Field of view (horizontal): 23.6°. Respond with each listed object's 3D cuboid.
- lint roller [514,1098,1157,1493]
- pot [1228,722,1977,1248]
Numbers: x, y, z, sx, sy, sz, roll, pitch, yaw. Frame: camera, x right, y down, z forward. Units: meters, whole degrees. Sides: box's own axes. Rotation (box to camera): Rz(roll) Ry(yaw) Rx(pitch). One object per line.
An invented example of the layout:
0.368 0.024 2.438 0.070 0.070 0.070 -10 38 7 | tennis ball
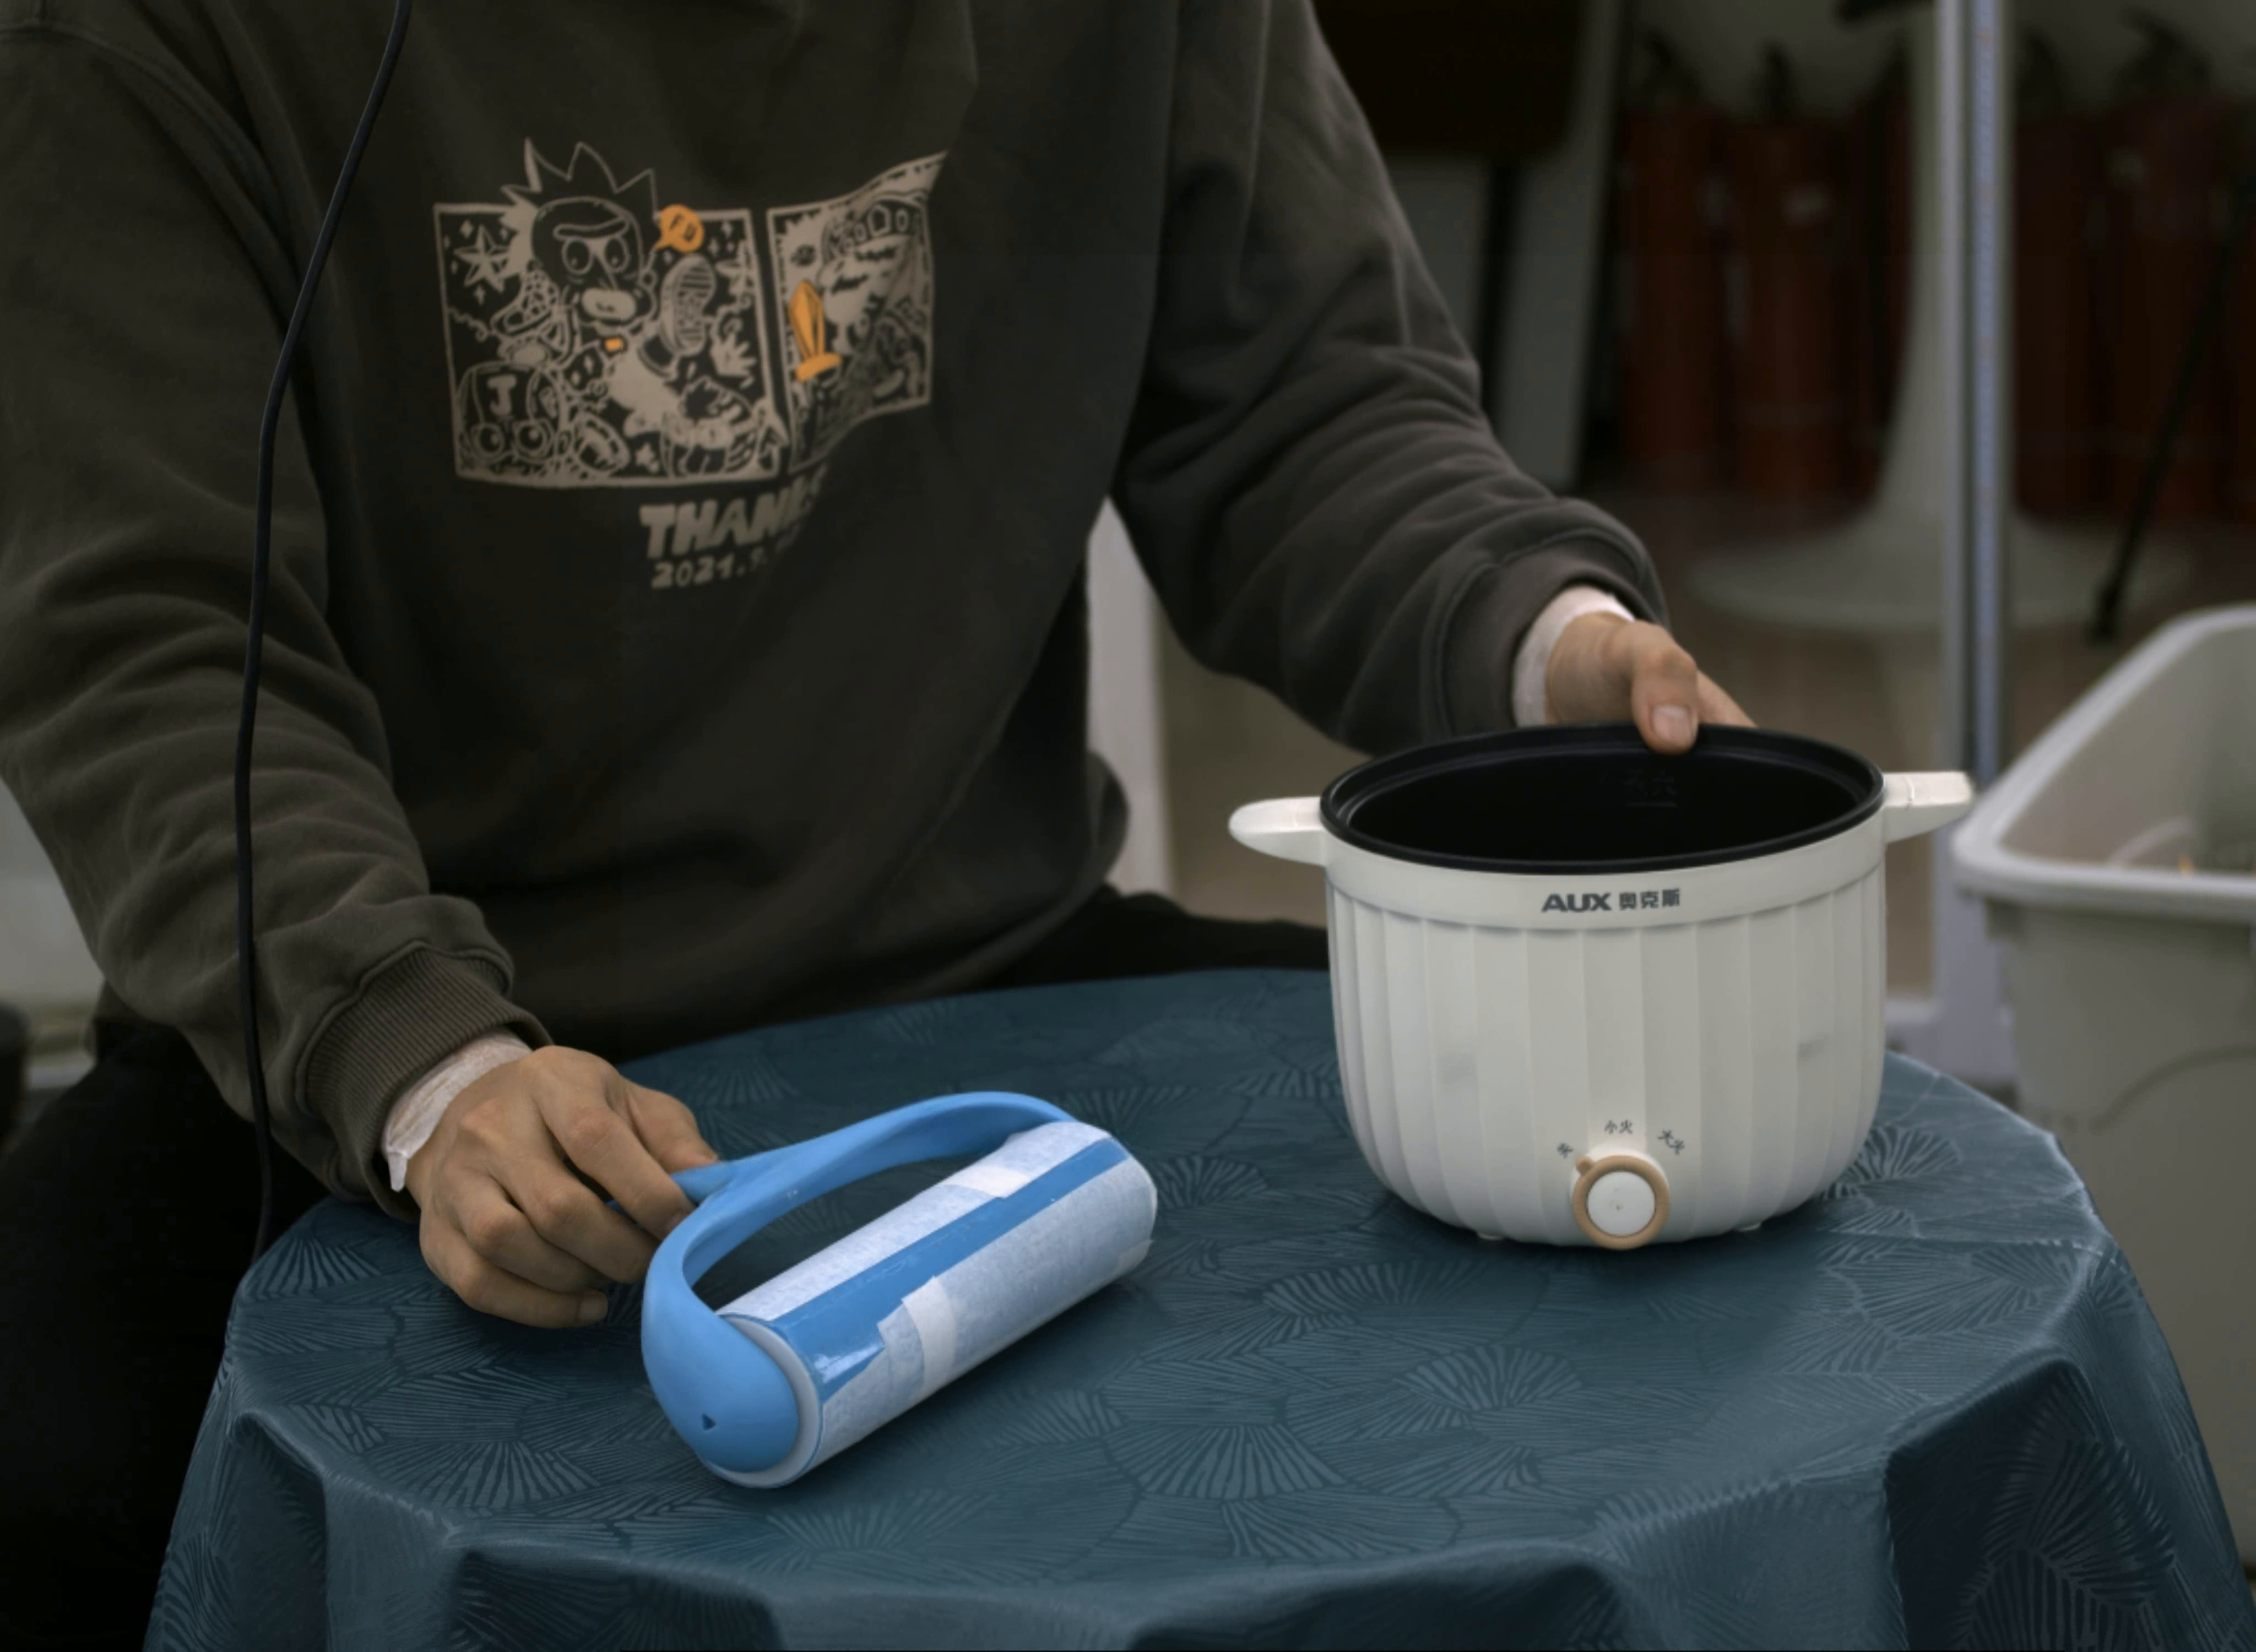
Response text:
-0.112 0.134 1.630 0.181 0.068 0.226 6 18 28 | lint roller
0.155 0.053 1.715 0.238 0.144 0.190 -4 10 5 | pot
